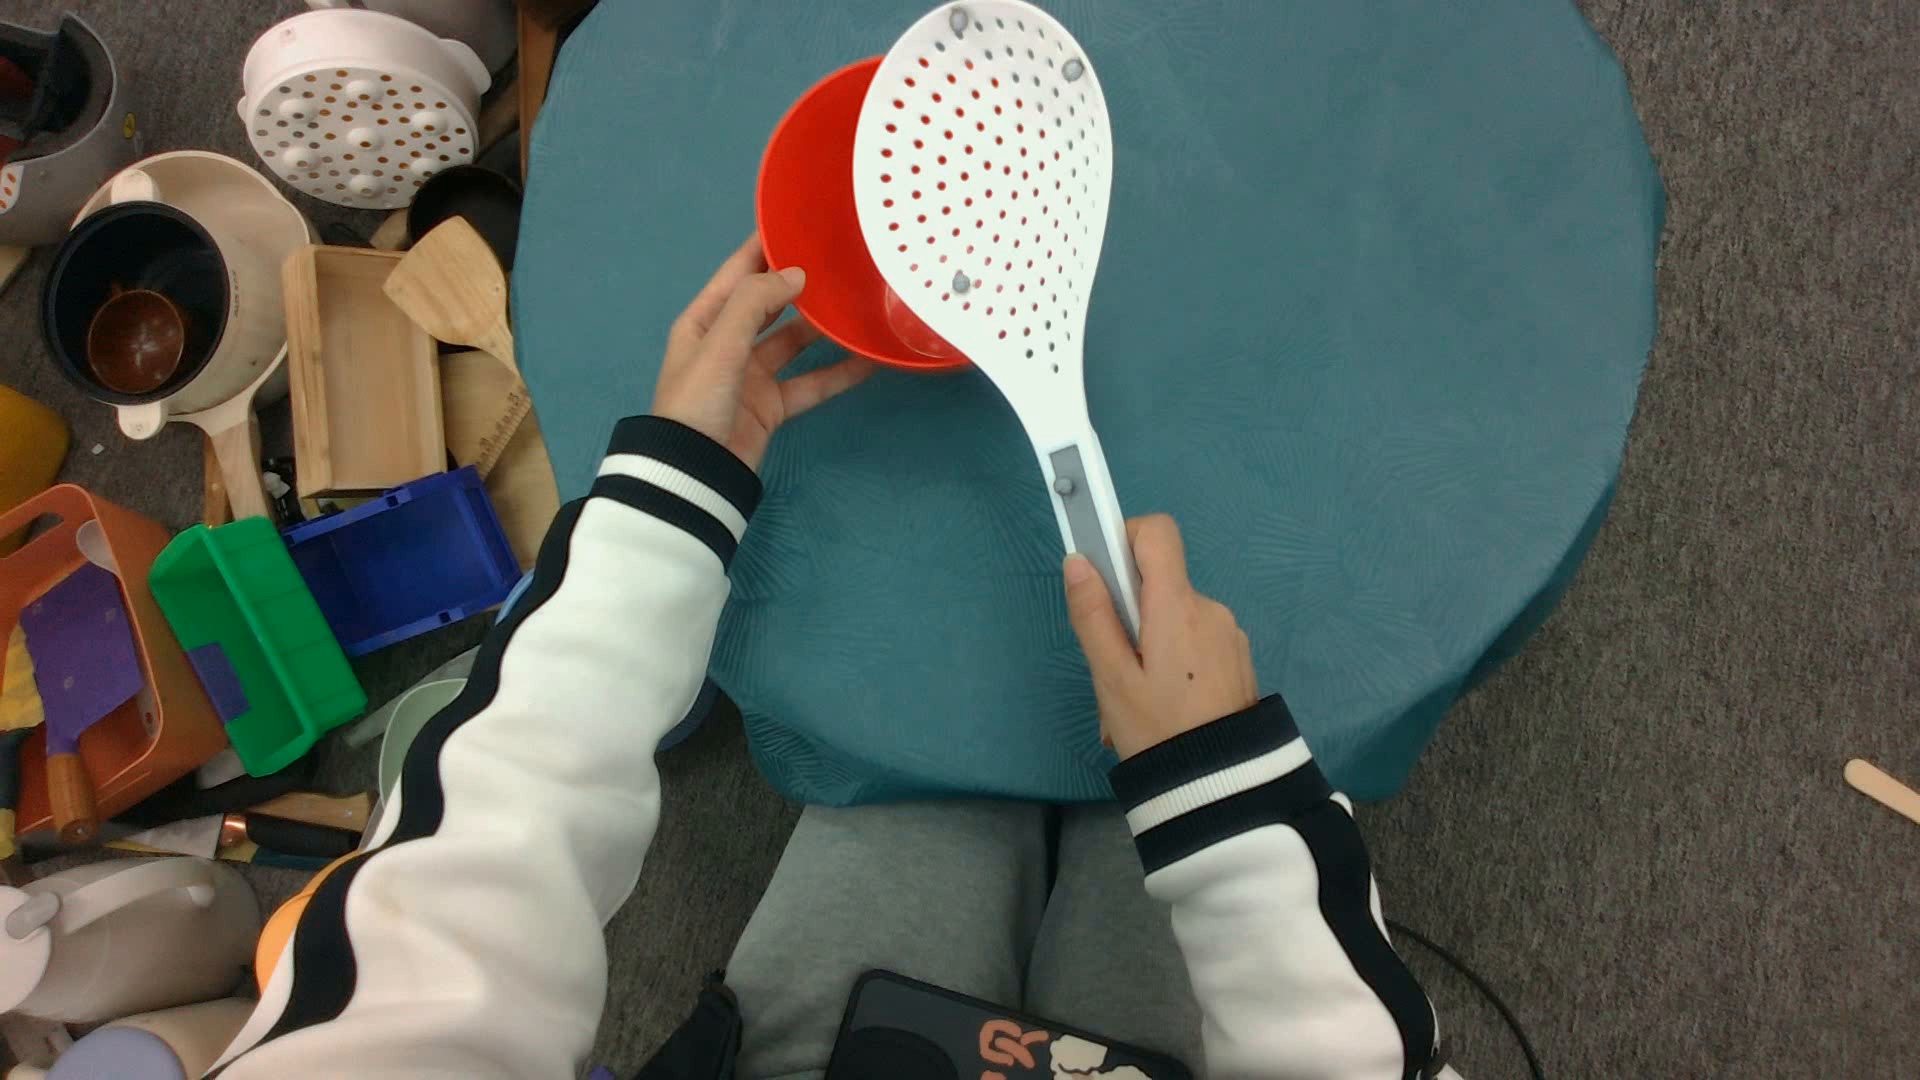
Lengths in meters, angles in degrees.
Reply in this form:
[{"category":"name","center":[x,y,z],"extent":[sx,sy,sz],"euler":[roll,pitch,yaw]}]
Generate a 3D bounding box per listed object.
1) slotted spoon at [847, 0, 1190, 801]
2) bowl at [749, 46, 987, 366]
[{"category":"slotted spoon","center":[0.038,-0.060,0.587],"extent":[0.135,0.046,0.350],"euler":[-18,83,38]},{"category":"bowl","center":[-0.022,-0.148,0.672],"extent":[0.148,0.104,0.148],"euler":[0,76,-1]}]
